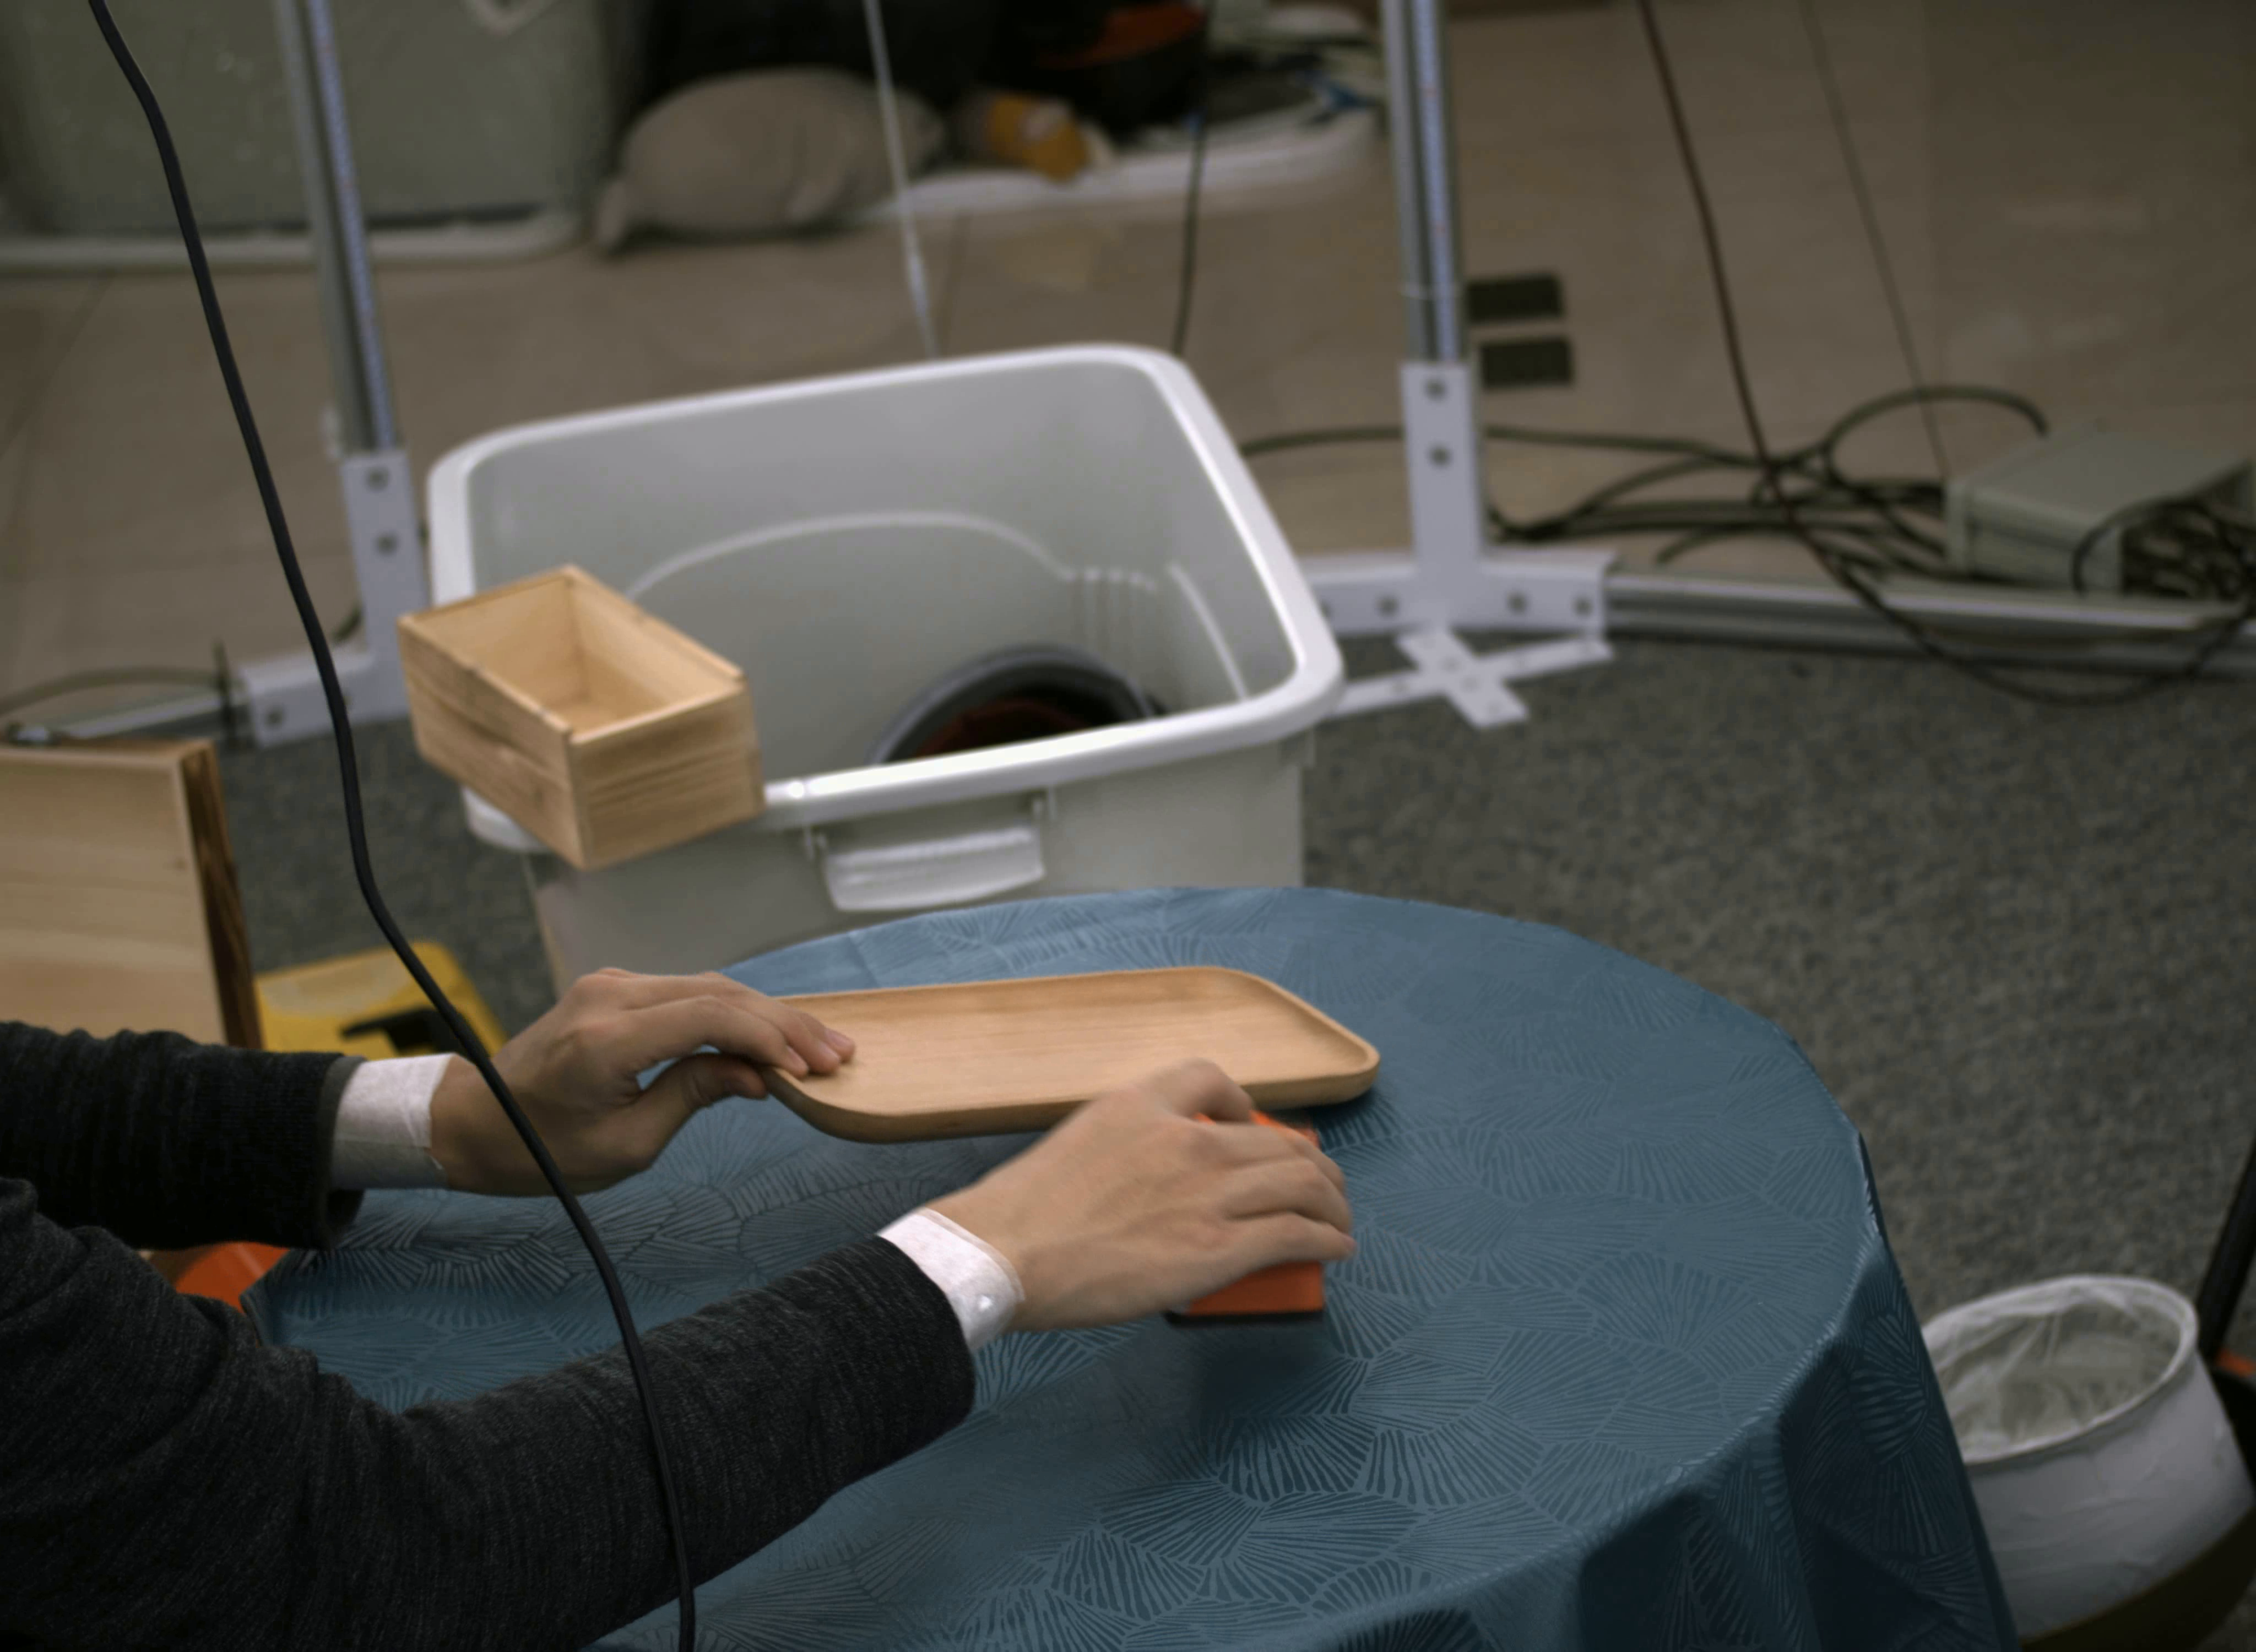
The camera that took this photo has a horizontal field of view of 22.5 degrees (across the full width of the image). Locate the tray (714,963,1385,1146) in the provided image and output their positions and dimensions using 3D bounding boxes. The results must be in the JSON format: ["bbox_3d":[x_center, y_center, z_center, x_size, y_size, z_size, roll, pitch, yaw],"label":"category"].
[{"bbox_3d":[-0.029,0.087,2.177,0.250,0.023,0.129,-4,18,-30],"label":"tray"}]

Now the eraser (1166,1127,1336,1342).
[{"bbox_3d":[0.045,0.146,2.037,0.059,0.023,0.106,-4,29,5],"label":"eraser"}]
